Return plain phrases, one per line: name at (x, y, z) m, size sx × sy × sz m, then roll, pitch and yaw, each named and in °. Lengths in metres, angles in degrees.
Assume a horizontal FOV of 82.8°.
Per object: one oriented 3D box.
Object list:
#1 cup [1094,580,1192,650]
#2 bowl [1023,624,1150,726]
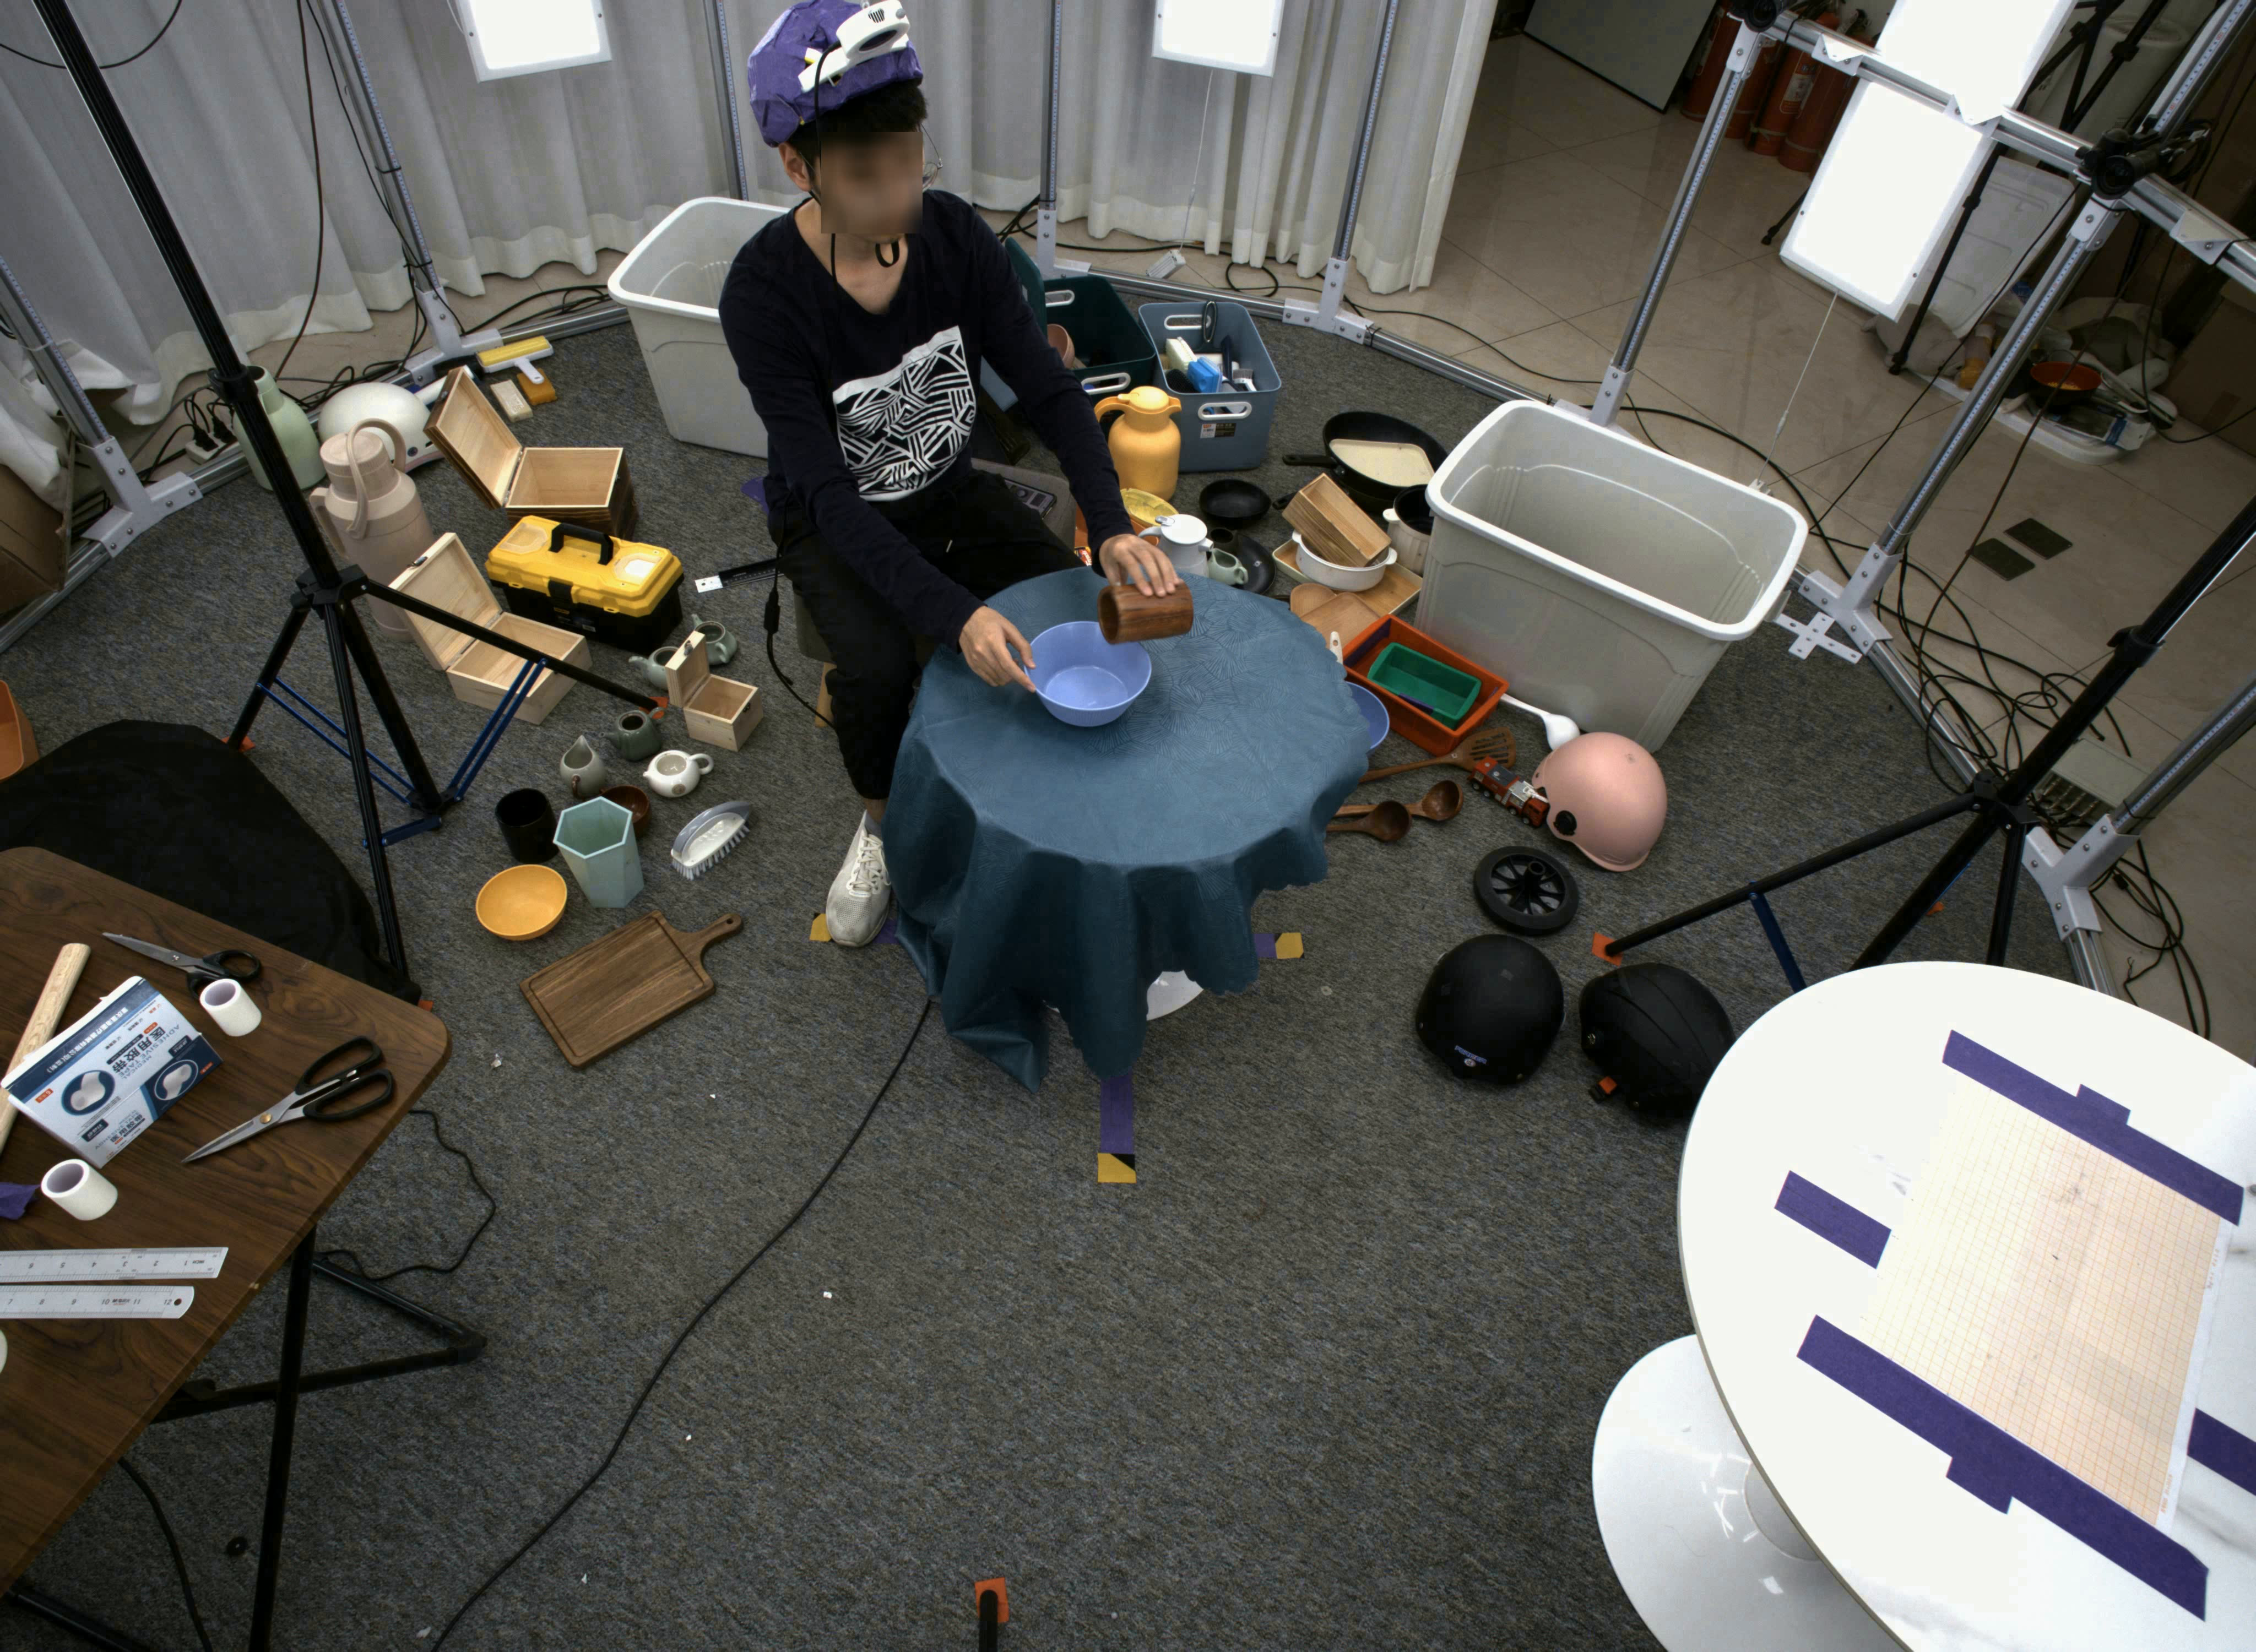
cup at (0.020, -0.292, 1.776) m, size 0.118 × 0.085 × 0.090 m, roll -10°, pitch 50°, yaw -17°
bowl at (-0.058, -0.203, 1.795) m, size 0.176 × 0.068 × 0.180 m, roll 2°, pitch 48°, yaw -2°
